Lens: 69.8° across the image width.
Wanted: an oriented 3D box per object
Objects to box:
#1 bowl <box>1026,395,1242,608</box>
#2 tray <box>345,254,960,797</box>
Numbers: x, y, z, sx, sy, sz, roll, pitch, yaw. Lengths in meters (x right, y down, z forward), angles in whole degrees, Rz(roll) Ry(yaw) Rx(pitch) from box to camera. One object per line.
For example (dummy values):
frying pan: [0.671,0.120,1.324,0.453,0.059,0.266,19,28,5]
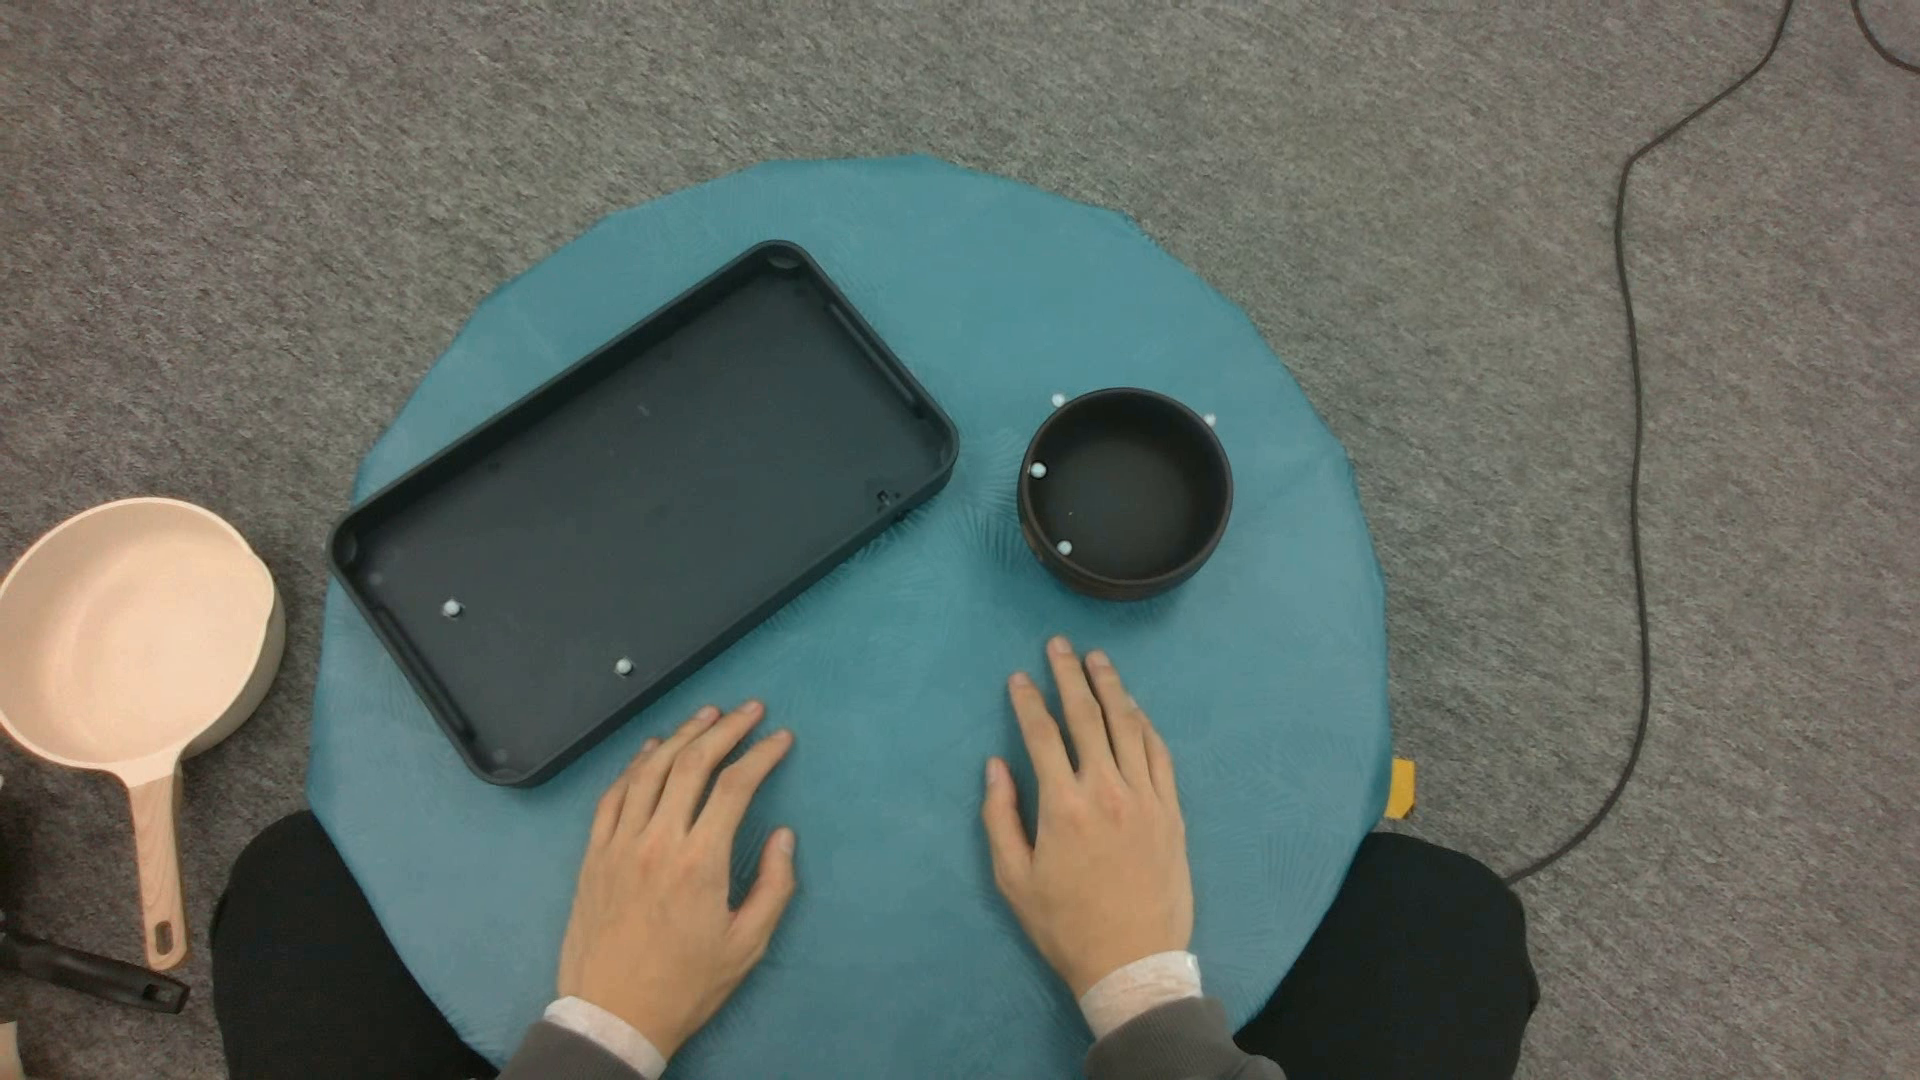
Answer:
bowl: [0.095,-0.017,0.781,0.118,0.069,0.118,1,73,-2]
tray: [-0.170,-0.015,0.793,0.319,0.037,0.184,-38,77,-14]
